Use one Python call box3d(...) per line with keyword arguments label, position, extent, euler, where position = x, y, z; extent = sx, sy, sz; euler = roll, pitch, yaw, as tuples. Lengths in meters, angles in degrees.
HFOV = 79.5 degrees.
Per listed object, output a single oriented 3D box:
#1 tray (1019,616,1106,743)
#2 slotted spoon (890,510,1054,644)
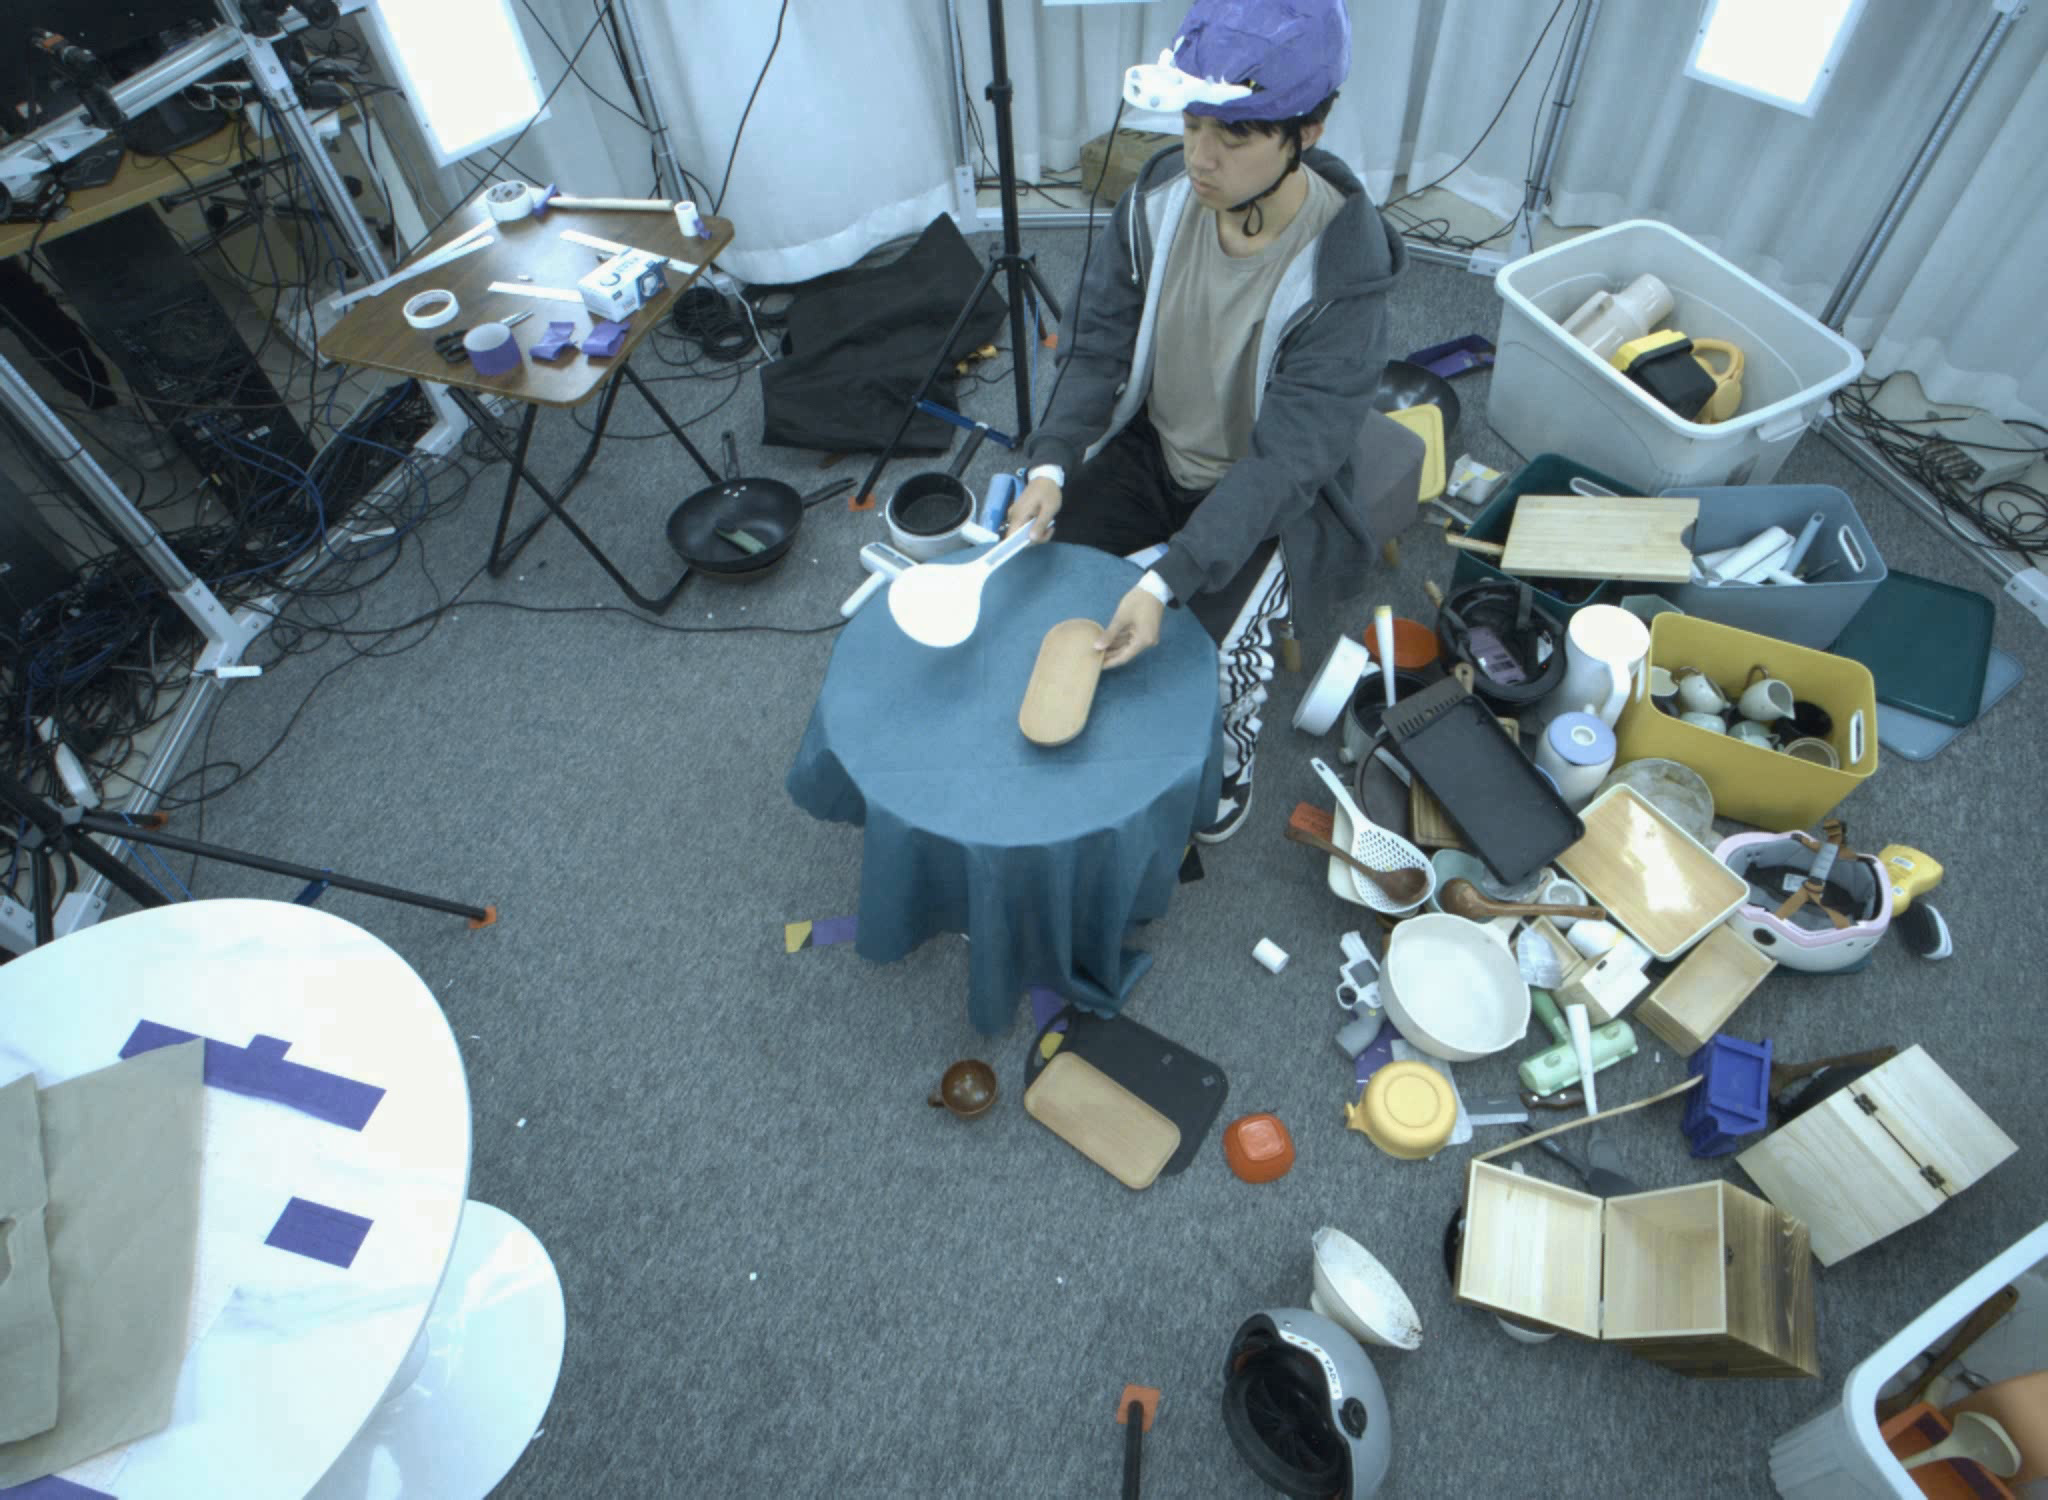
box3d(label="tray", position=(0.058, -0.106, 1.814), extent=(0.100, 0.020, 0.230), euler=(5, 56, 16))
box3d(label="slotted spoon", position=(-0.069, -0.277, 1.867), extent=(0.136, 0.045, 0.352), euler=(47, 61, -1))
